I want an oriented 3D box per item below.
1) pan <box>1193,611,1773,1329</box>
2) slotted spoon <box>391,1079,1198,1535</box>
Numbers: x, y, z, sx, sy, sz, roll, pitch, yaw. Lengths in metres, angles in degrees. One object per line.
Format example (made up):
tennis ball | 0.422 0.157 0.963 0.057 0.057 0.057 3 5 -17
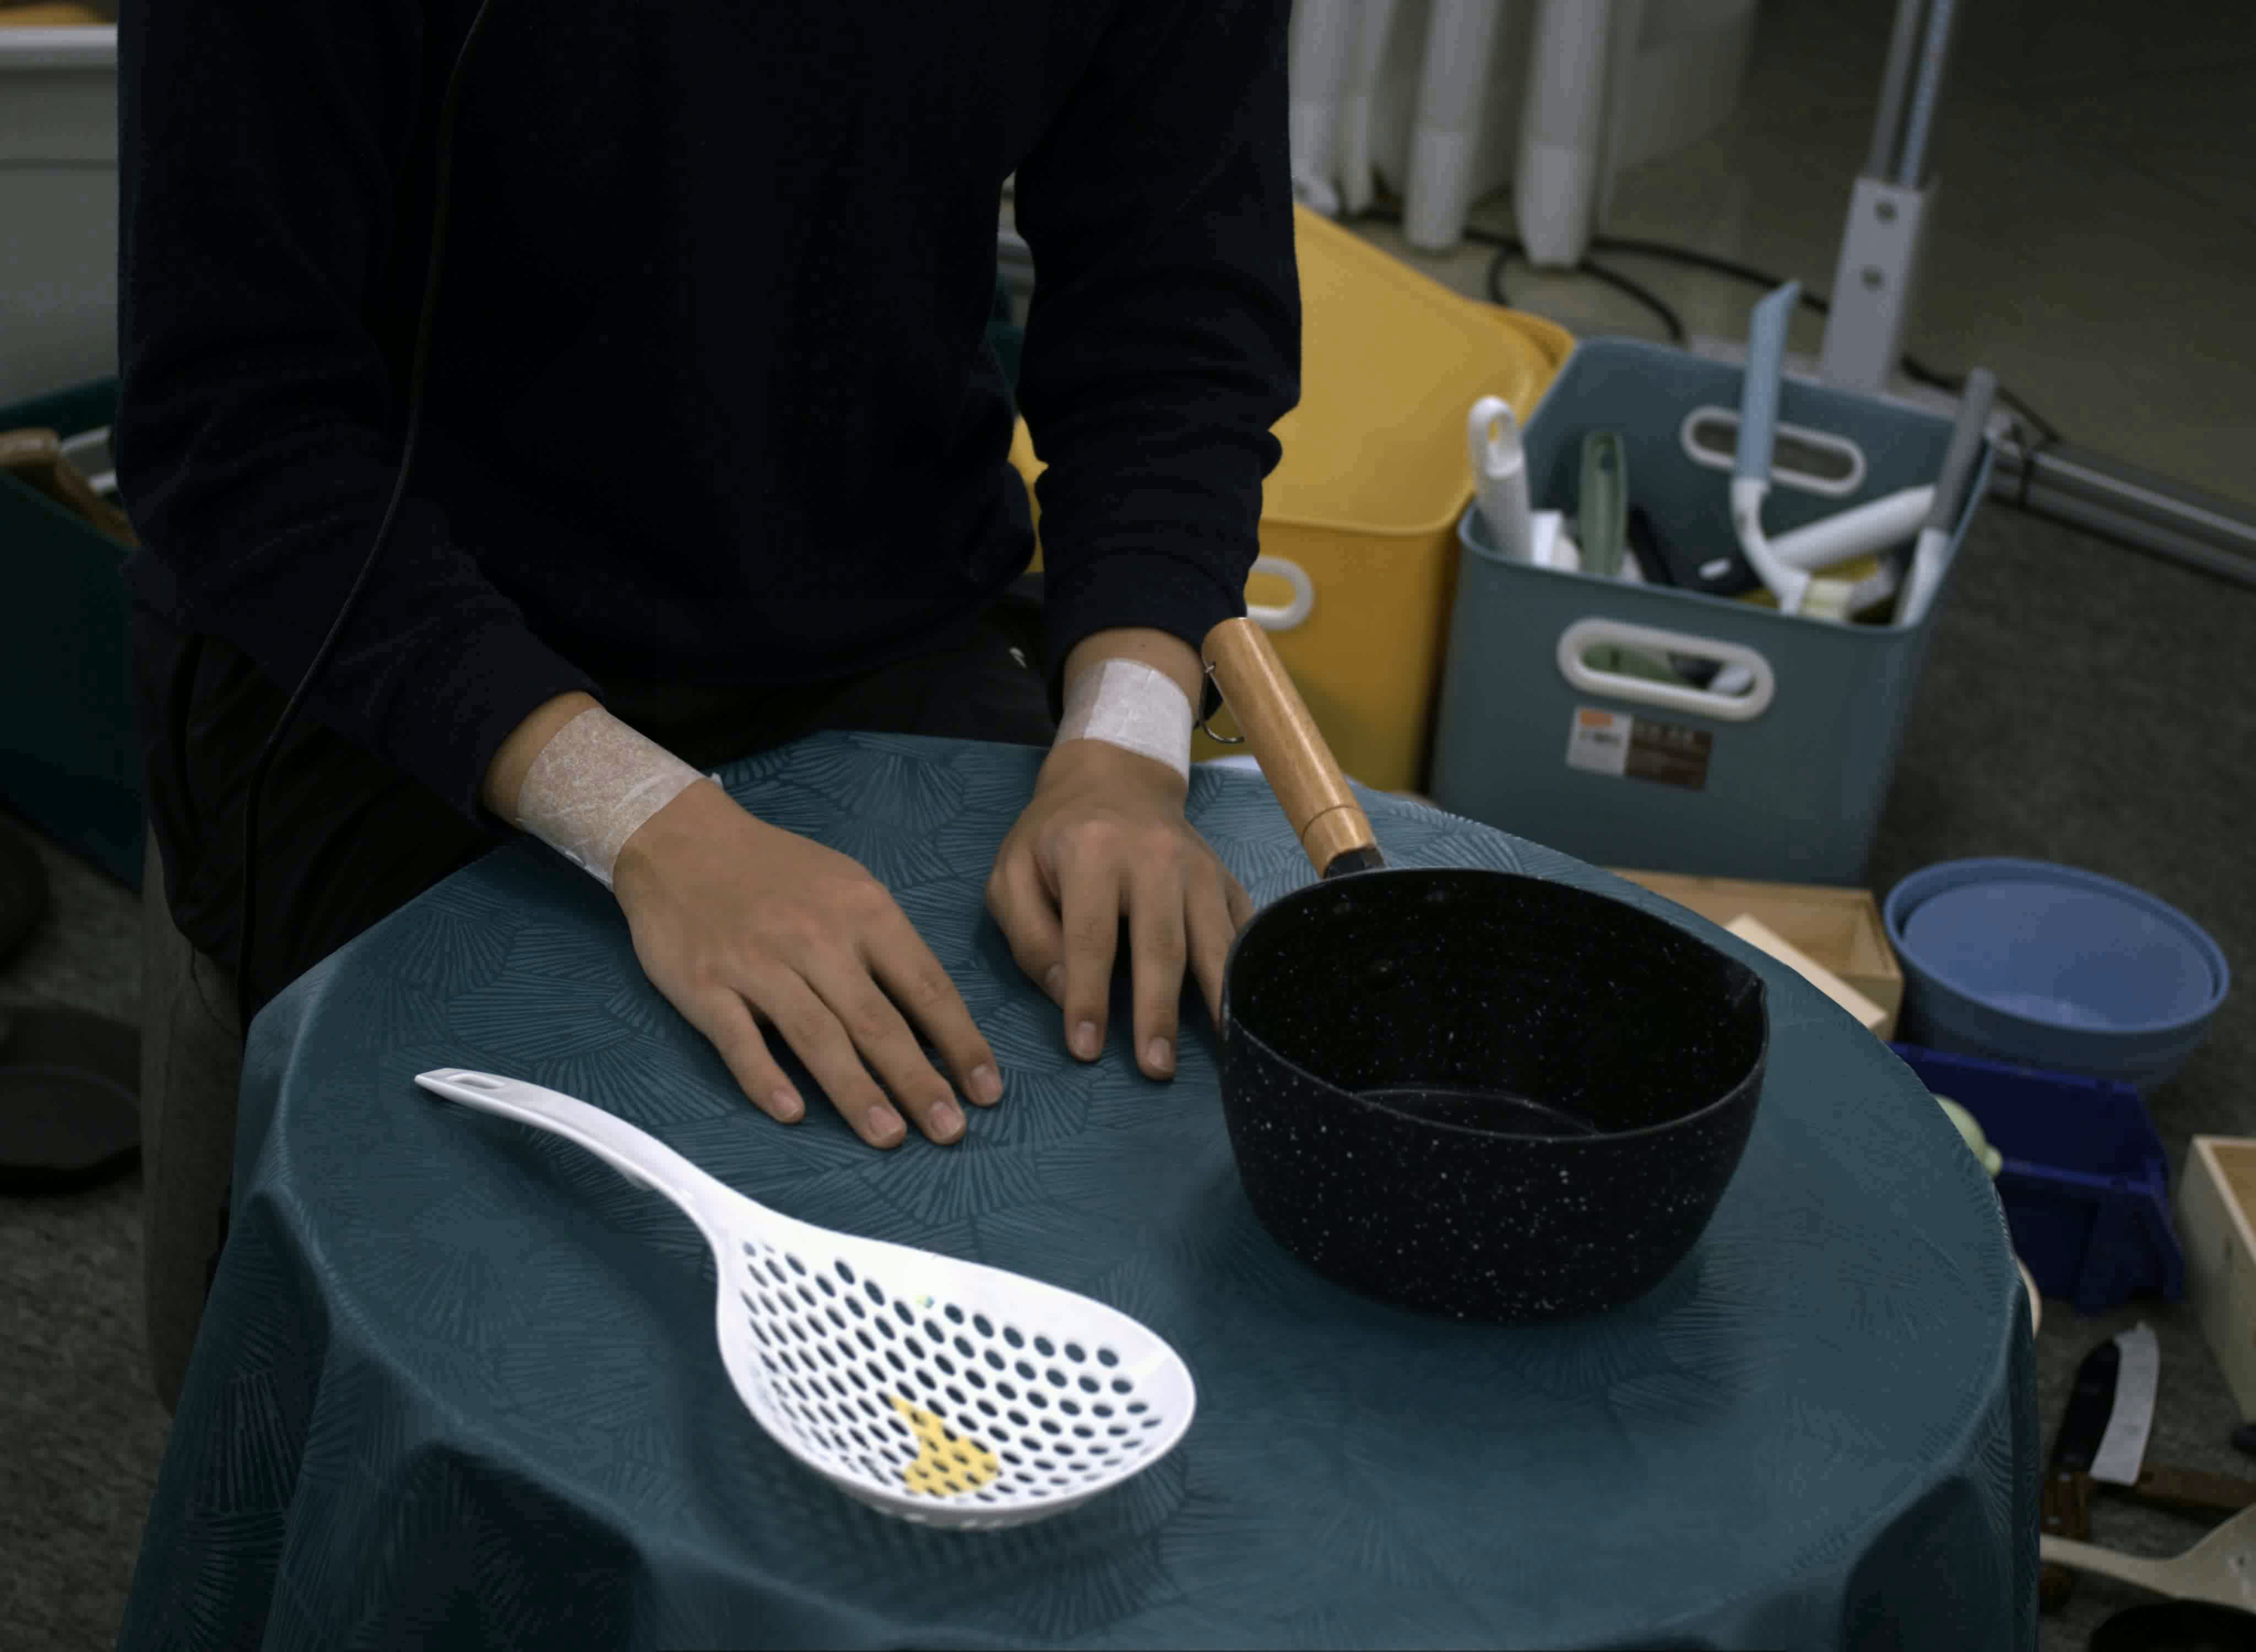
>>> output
pan | 0.091 0.047 1.854 0.206 0.108 0.346 -6 31 -21
slotted spoon | -0.123 0.140 1.696 0.136 0.050 0.351 -19 38 -38
